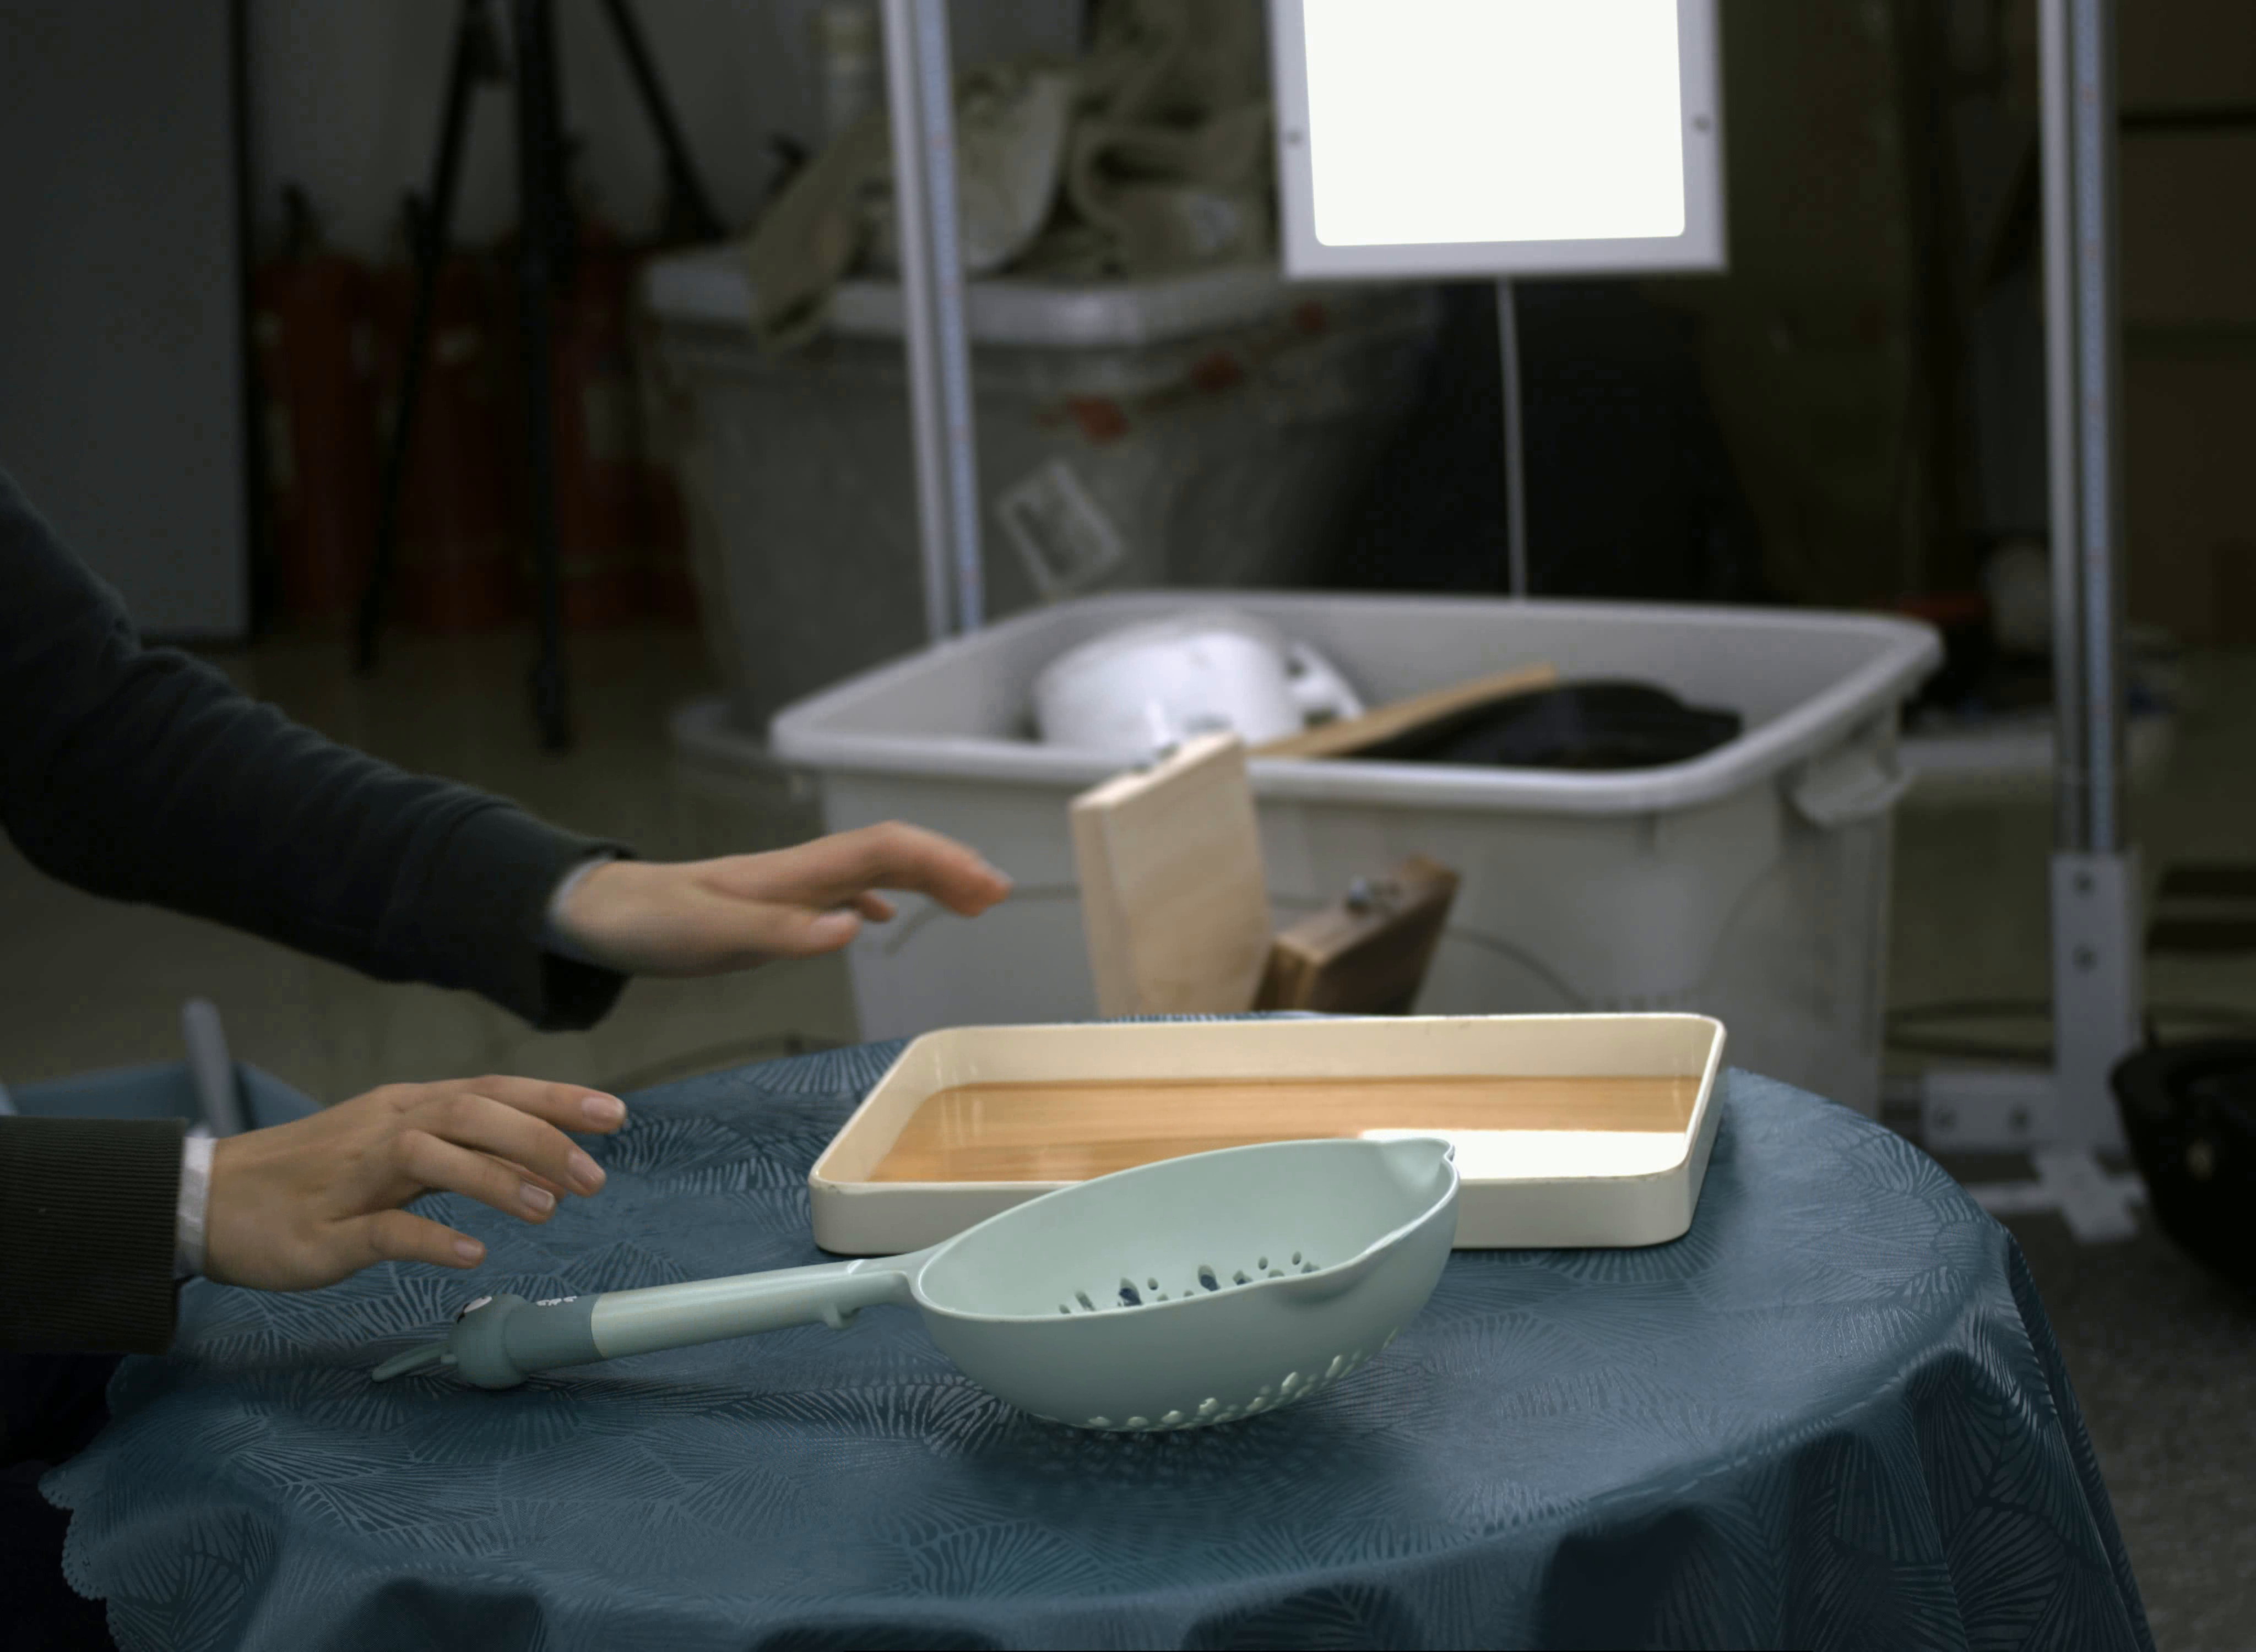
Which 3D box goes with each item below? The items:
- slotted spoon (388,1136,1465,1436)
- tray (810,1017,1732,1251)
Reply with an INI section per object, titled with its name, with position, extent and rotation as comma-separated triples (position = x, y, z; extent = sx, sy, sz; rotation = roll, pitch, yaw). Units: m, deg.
[slotted spoon]
position = -0.070, 0.146, 1.707
extent = 0.363, 0.075, 0.166
rotation = 0, 13, 20
[tray]
position = 0.054, 0.106, 1.906
extent = 0.303, 0.027, 0.189
rotation = -1, 14, 14
